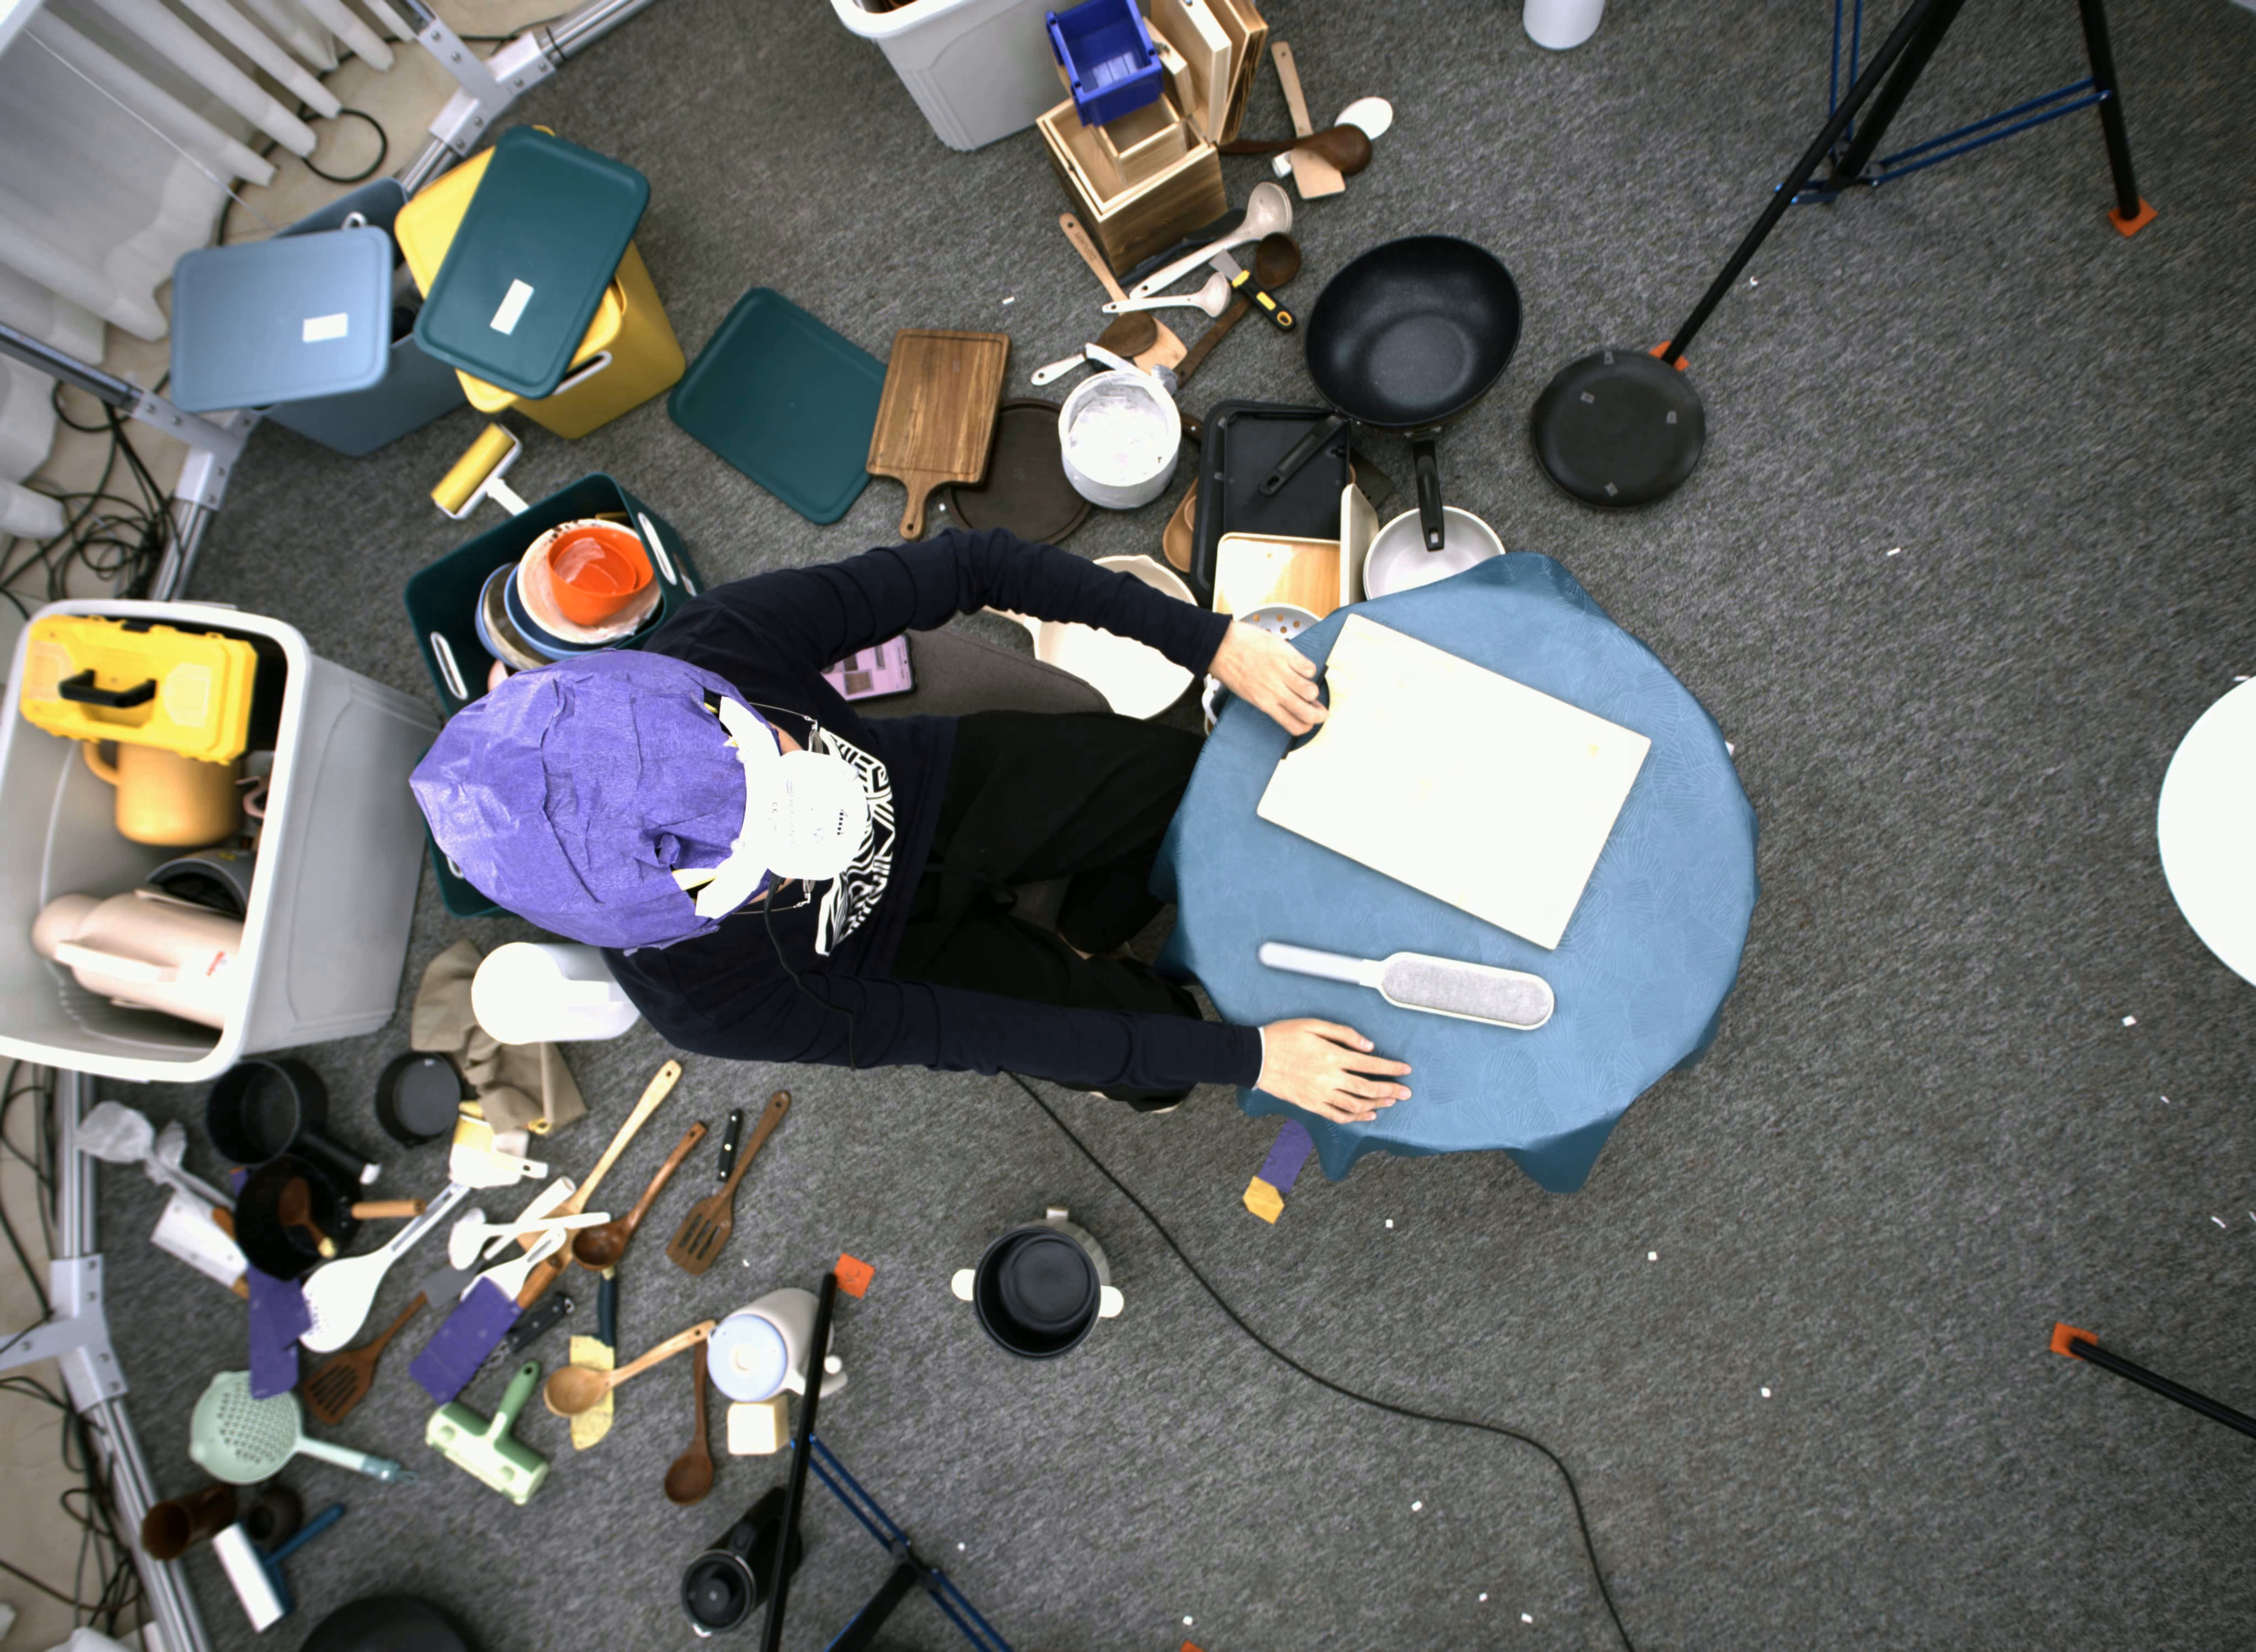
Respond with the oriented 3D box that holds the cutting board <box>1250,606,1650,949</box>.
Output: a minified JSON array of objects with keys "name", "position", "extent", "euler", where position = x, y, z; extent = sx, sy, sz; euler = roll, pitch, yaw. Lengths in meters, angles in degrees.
[{"name":"cutting board","position":[0.335,-0.055,1.447],"extent":[0.348,0.023,0.250],"euler":[25,91,11]}]

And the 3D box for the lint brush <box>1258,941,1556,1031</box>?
[{"name":"lint brush","position":[0.288,0.157,1.438],"extent":[0.309,0.021,0.060],"euler":[10,94,11]}]
